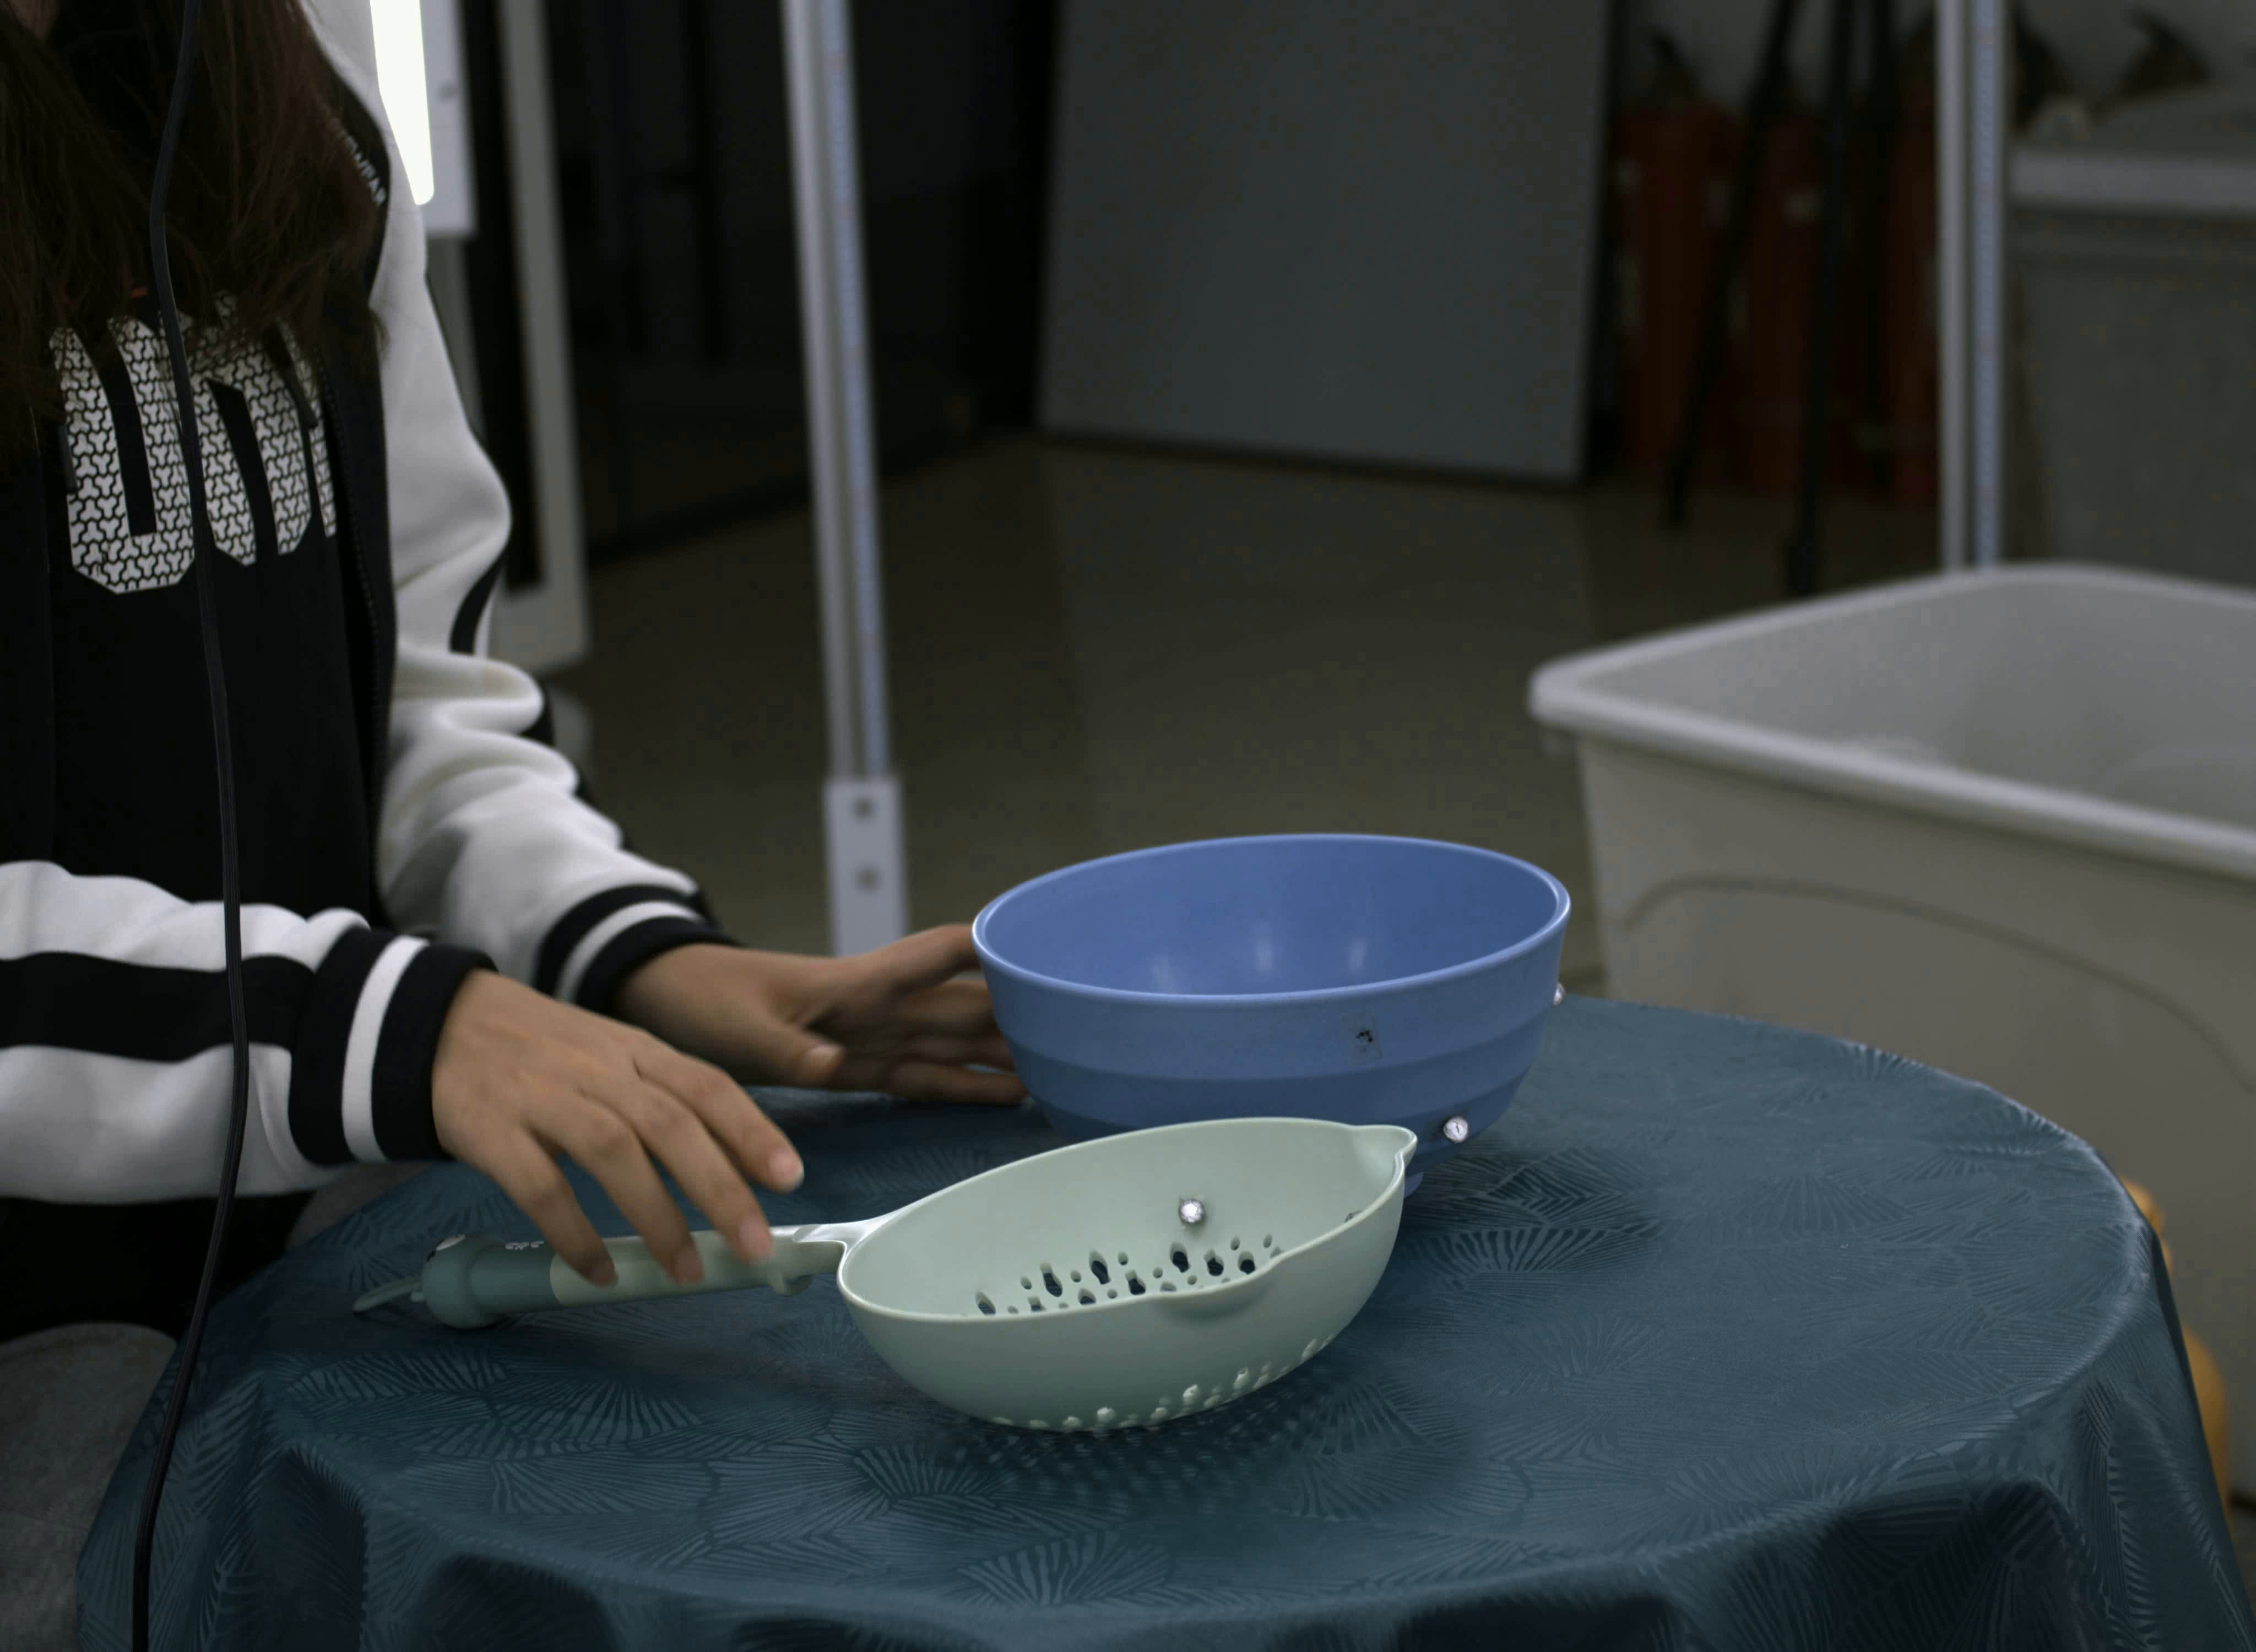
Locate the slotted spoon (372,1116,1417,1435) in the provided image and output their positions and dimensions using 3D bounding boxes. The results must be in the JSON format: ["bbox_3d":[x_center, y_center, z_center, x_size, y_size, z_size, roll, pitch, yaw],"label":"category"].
[{"bbox_3d":[-0.083,0.135,1.616,0.360,0.076,0.167,1,15,28],"label":"slotted spoon"}]

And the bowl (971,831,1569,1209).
[{"bbox_3d":[0.049,0.072,1.755,0.194,0.096,0.197,-5,14,0],"label":"bowl"}]
